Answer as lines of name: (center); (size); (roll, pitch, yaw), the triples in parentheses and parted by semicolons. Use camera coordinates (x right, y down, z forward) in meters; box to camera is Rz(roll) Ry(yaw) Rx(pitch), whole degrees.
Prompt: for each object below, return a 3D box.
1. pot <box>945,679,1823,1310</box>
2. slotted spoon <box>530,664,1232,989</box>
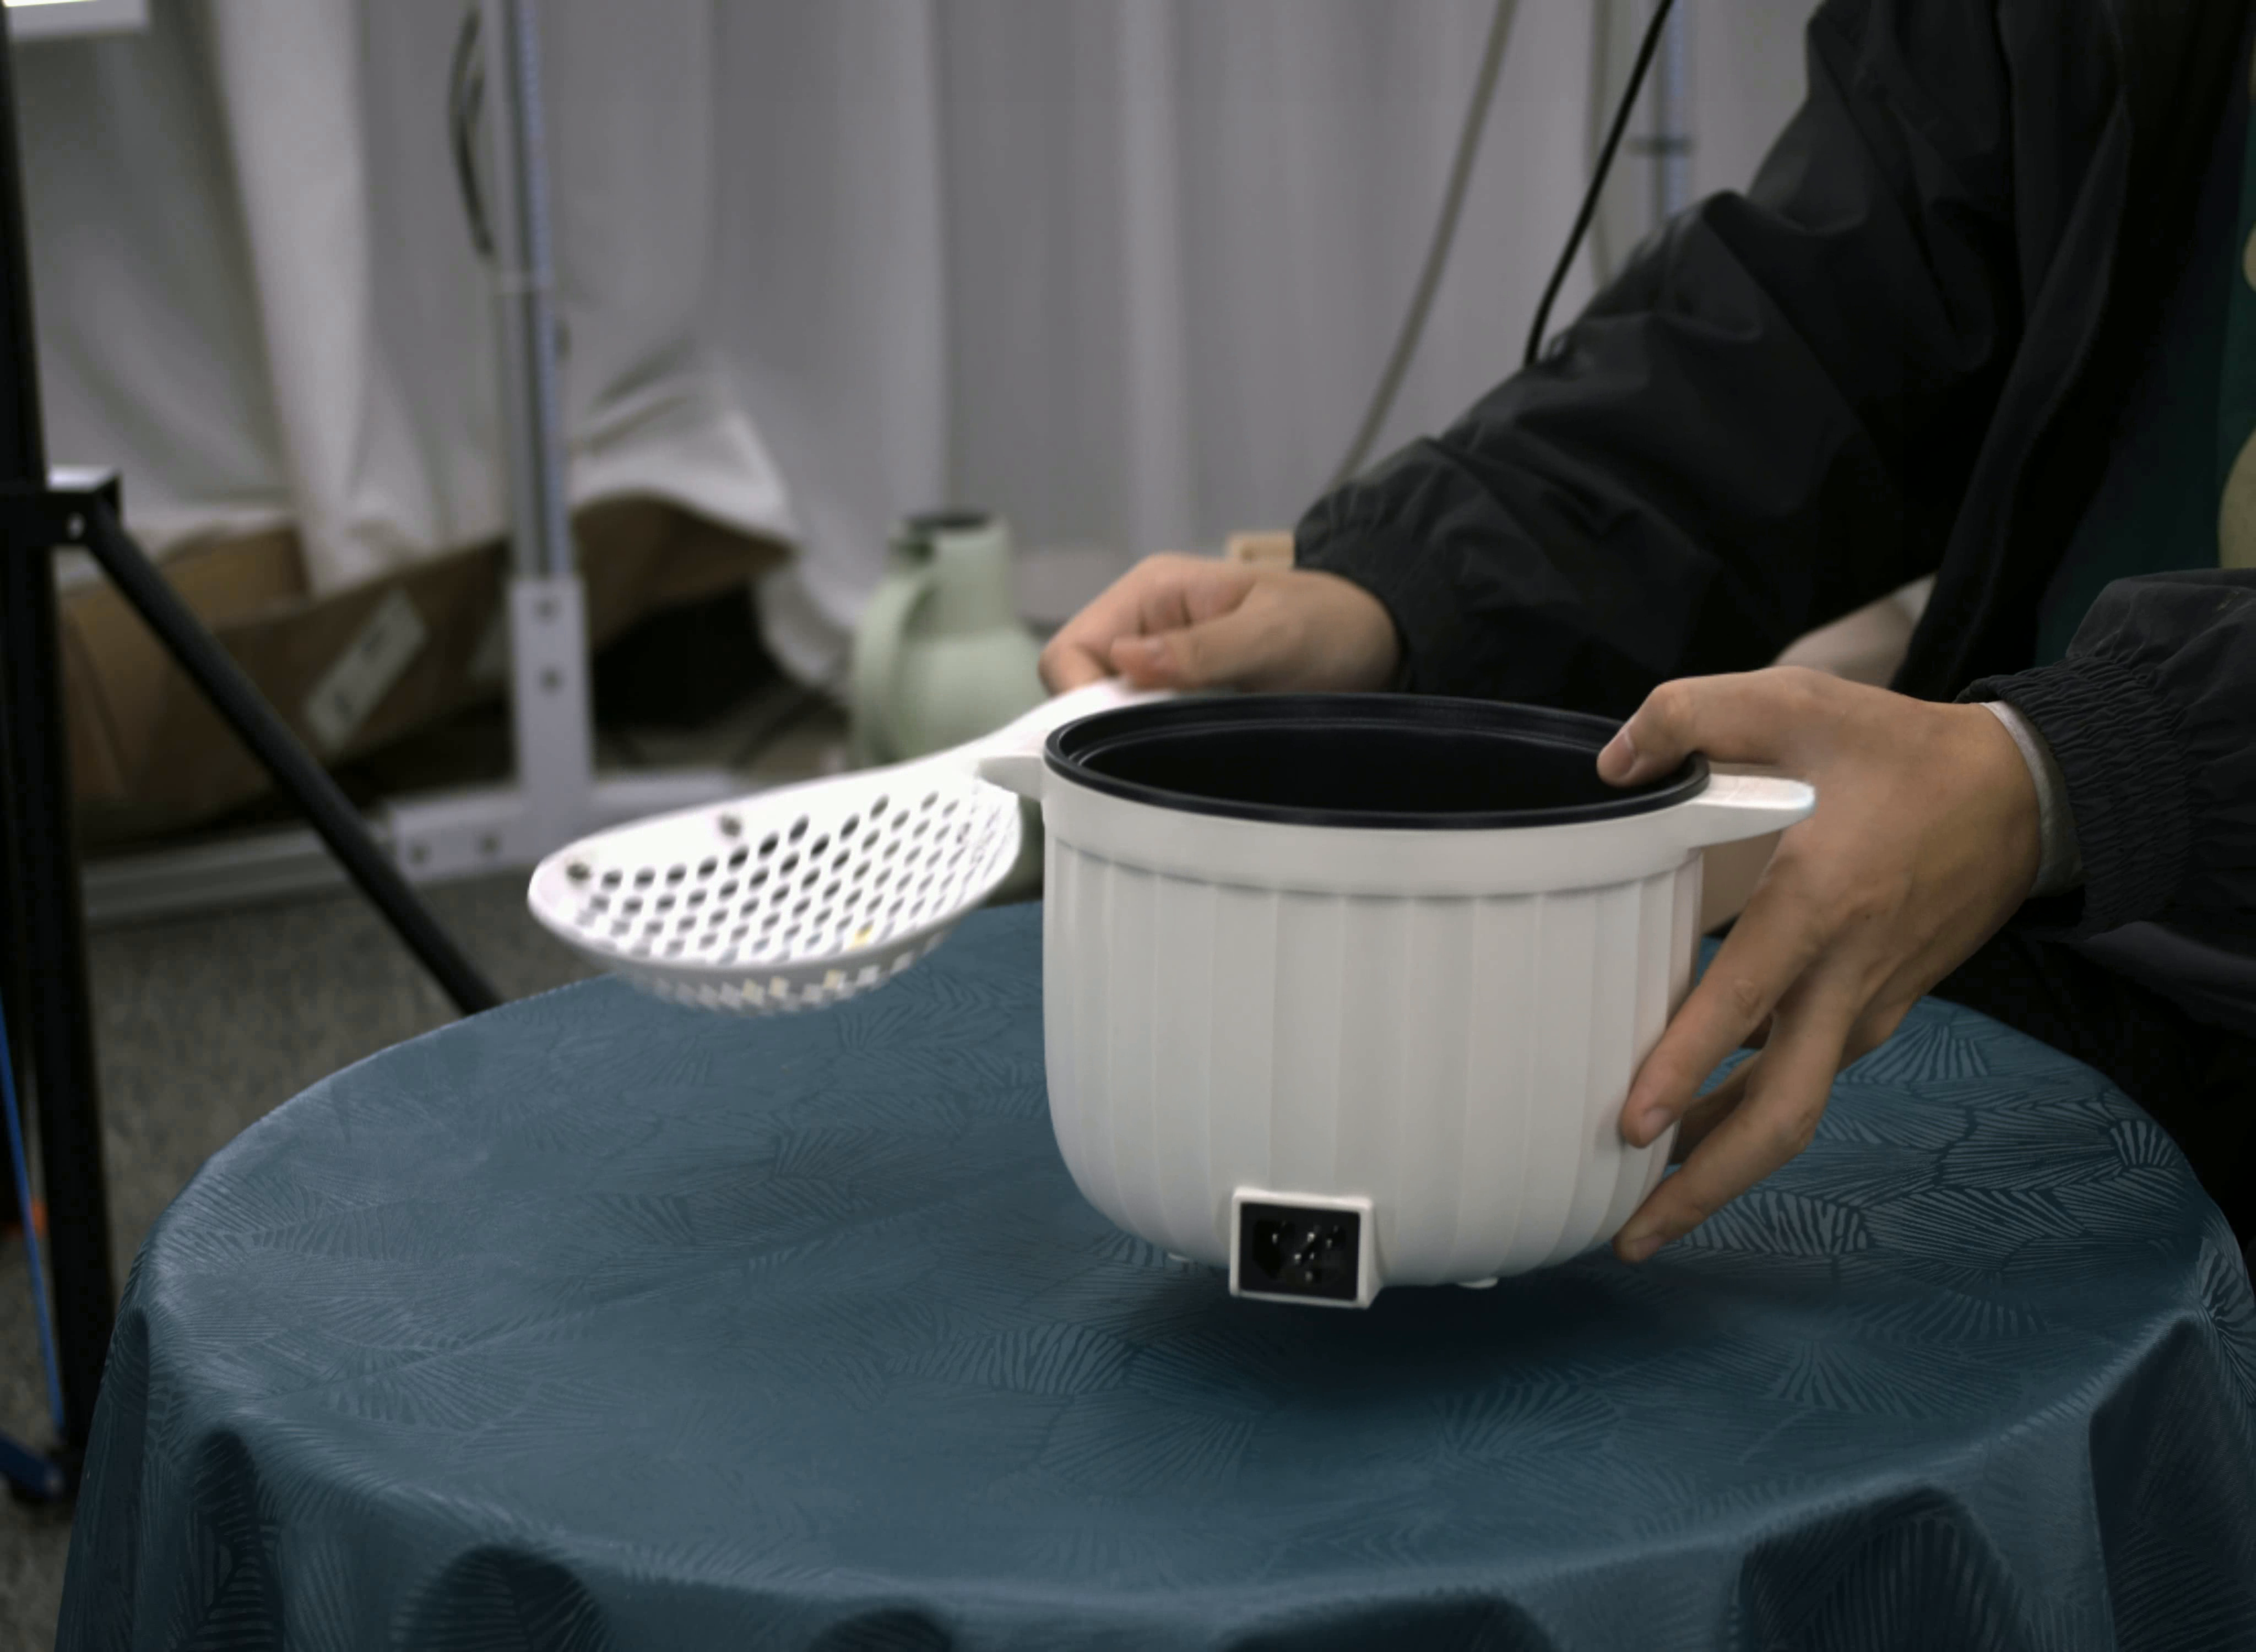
pot: (0.066, 0.042, 1.452); (0.242, 0.143, 0.189); (5, 15, 13)
slotted spoon: (-0.049, -0.013, 1.648); (0.139, 0.050, 0.342); (7, 24, 30)
